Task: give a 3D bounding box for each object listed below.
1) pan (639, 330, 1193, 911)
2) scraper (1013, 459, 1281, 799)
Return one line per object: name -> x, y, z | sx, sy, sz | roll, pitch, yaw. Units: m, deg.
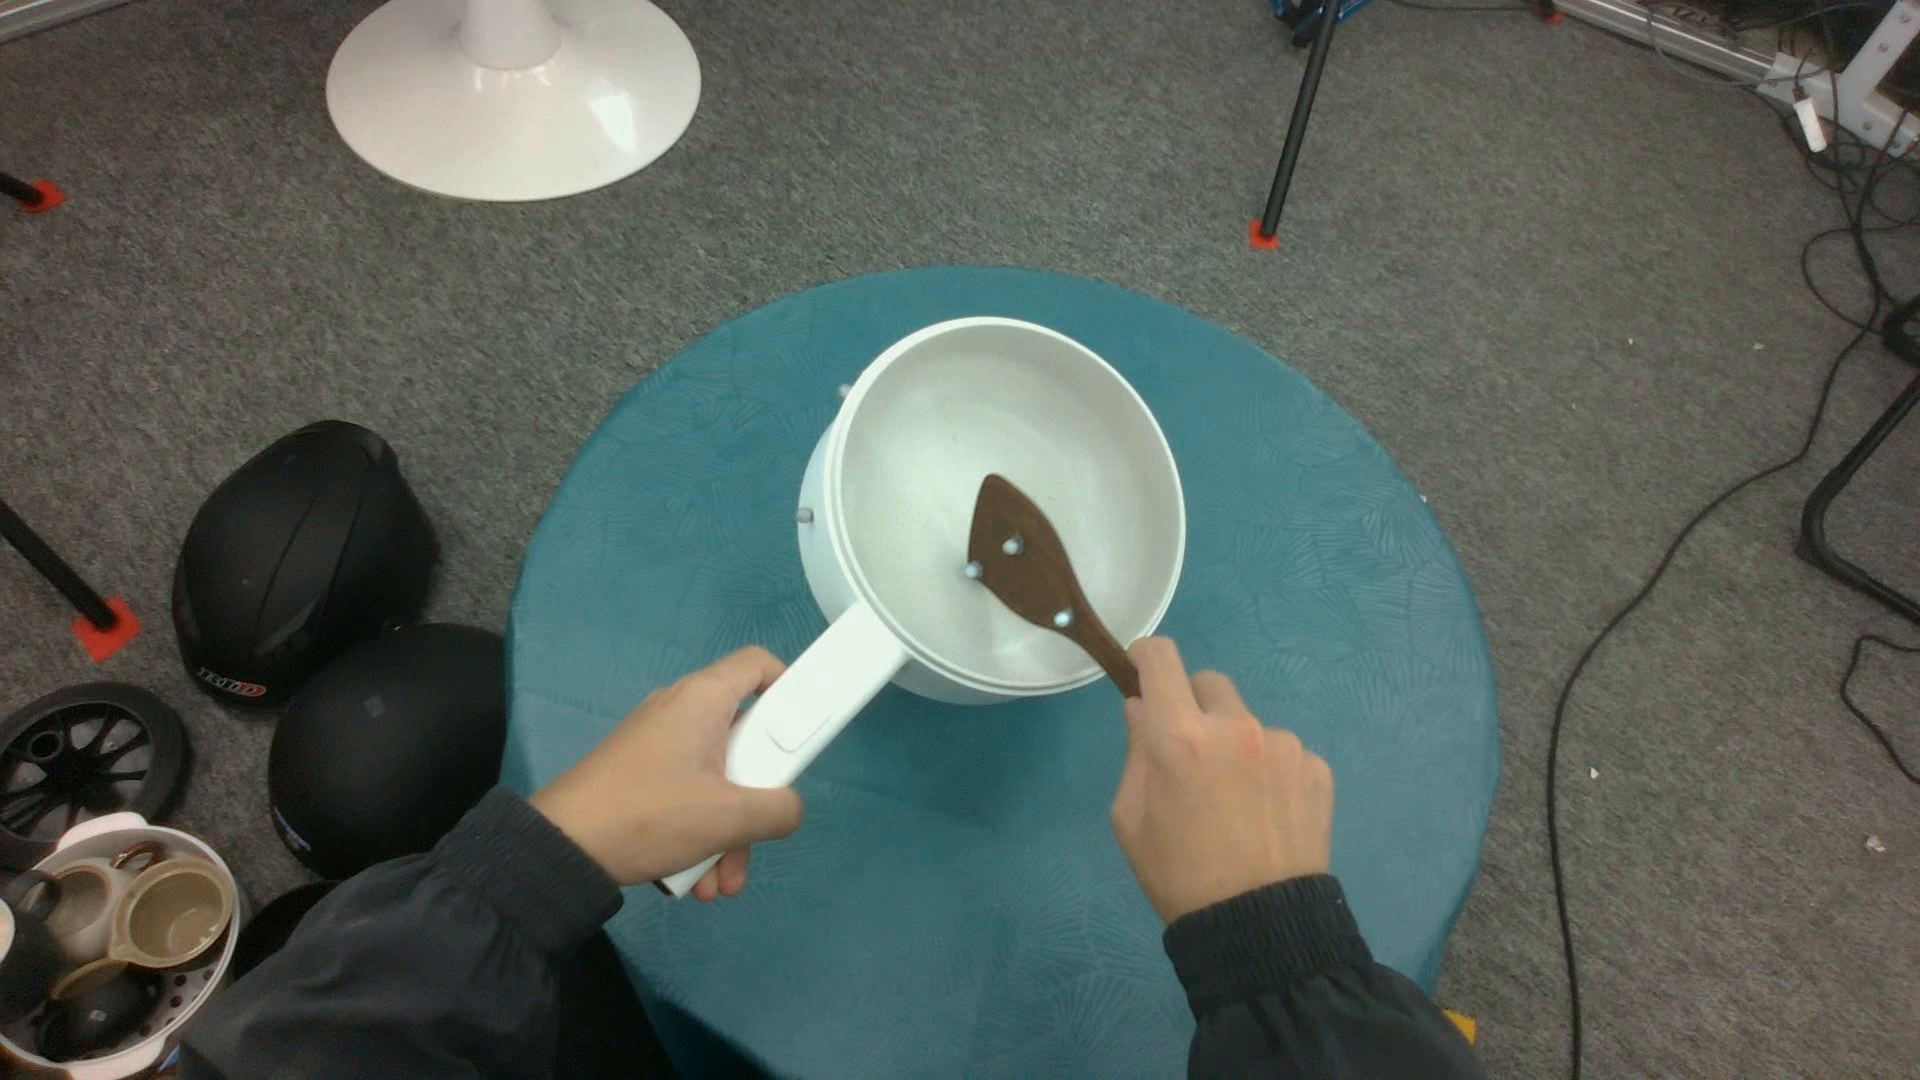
pan -> -0.030, 0.047, 0.728 | 0.201, 0.101, 0.356 | 45, 67, -4
scraper -> 0.089, 0.045, 0.687 | 0.011, 0.075, 0.211 | -17, 50, -27
